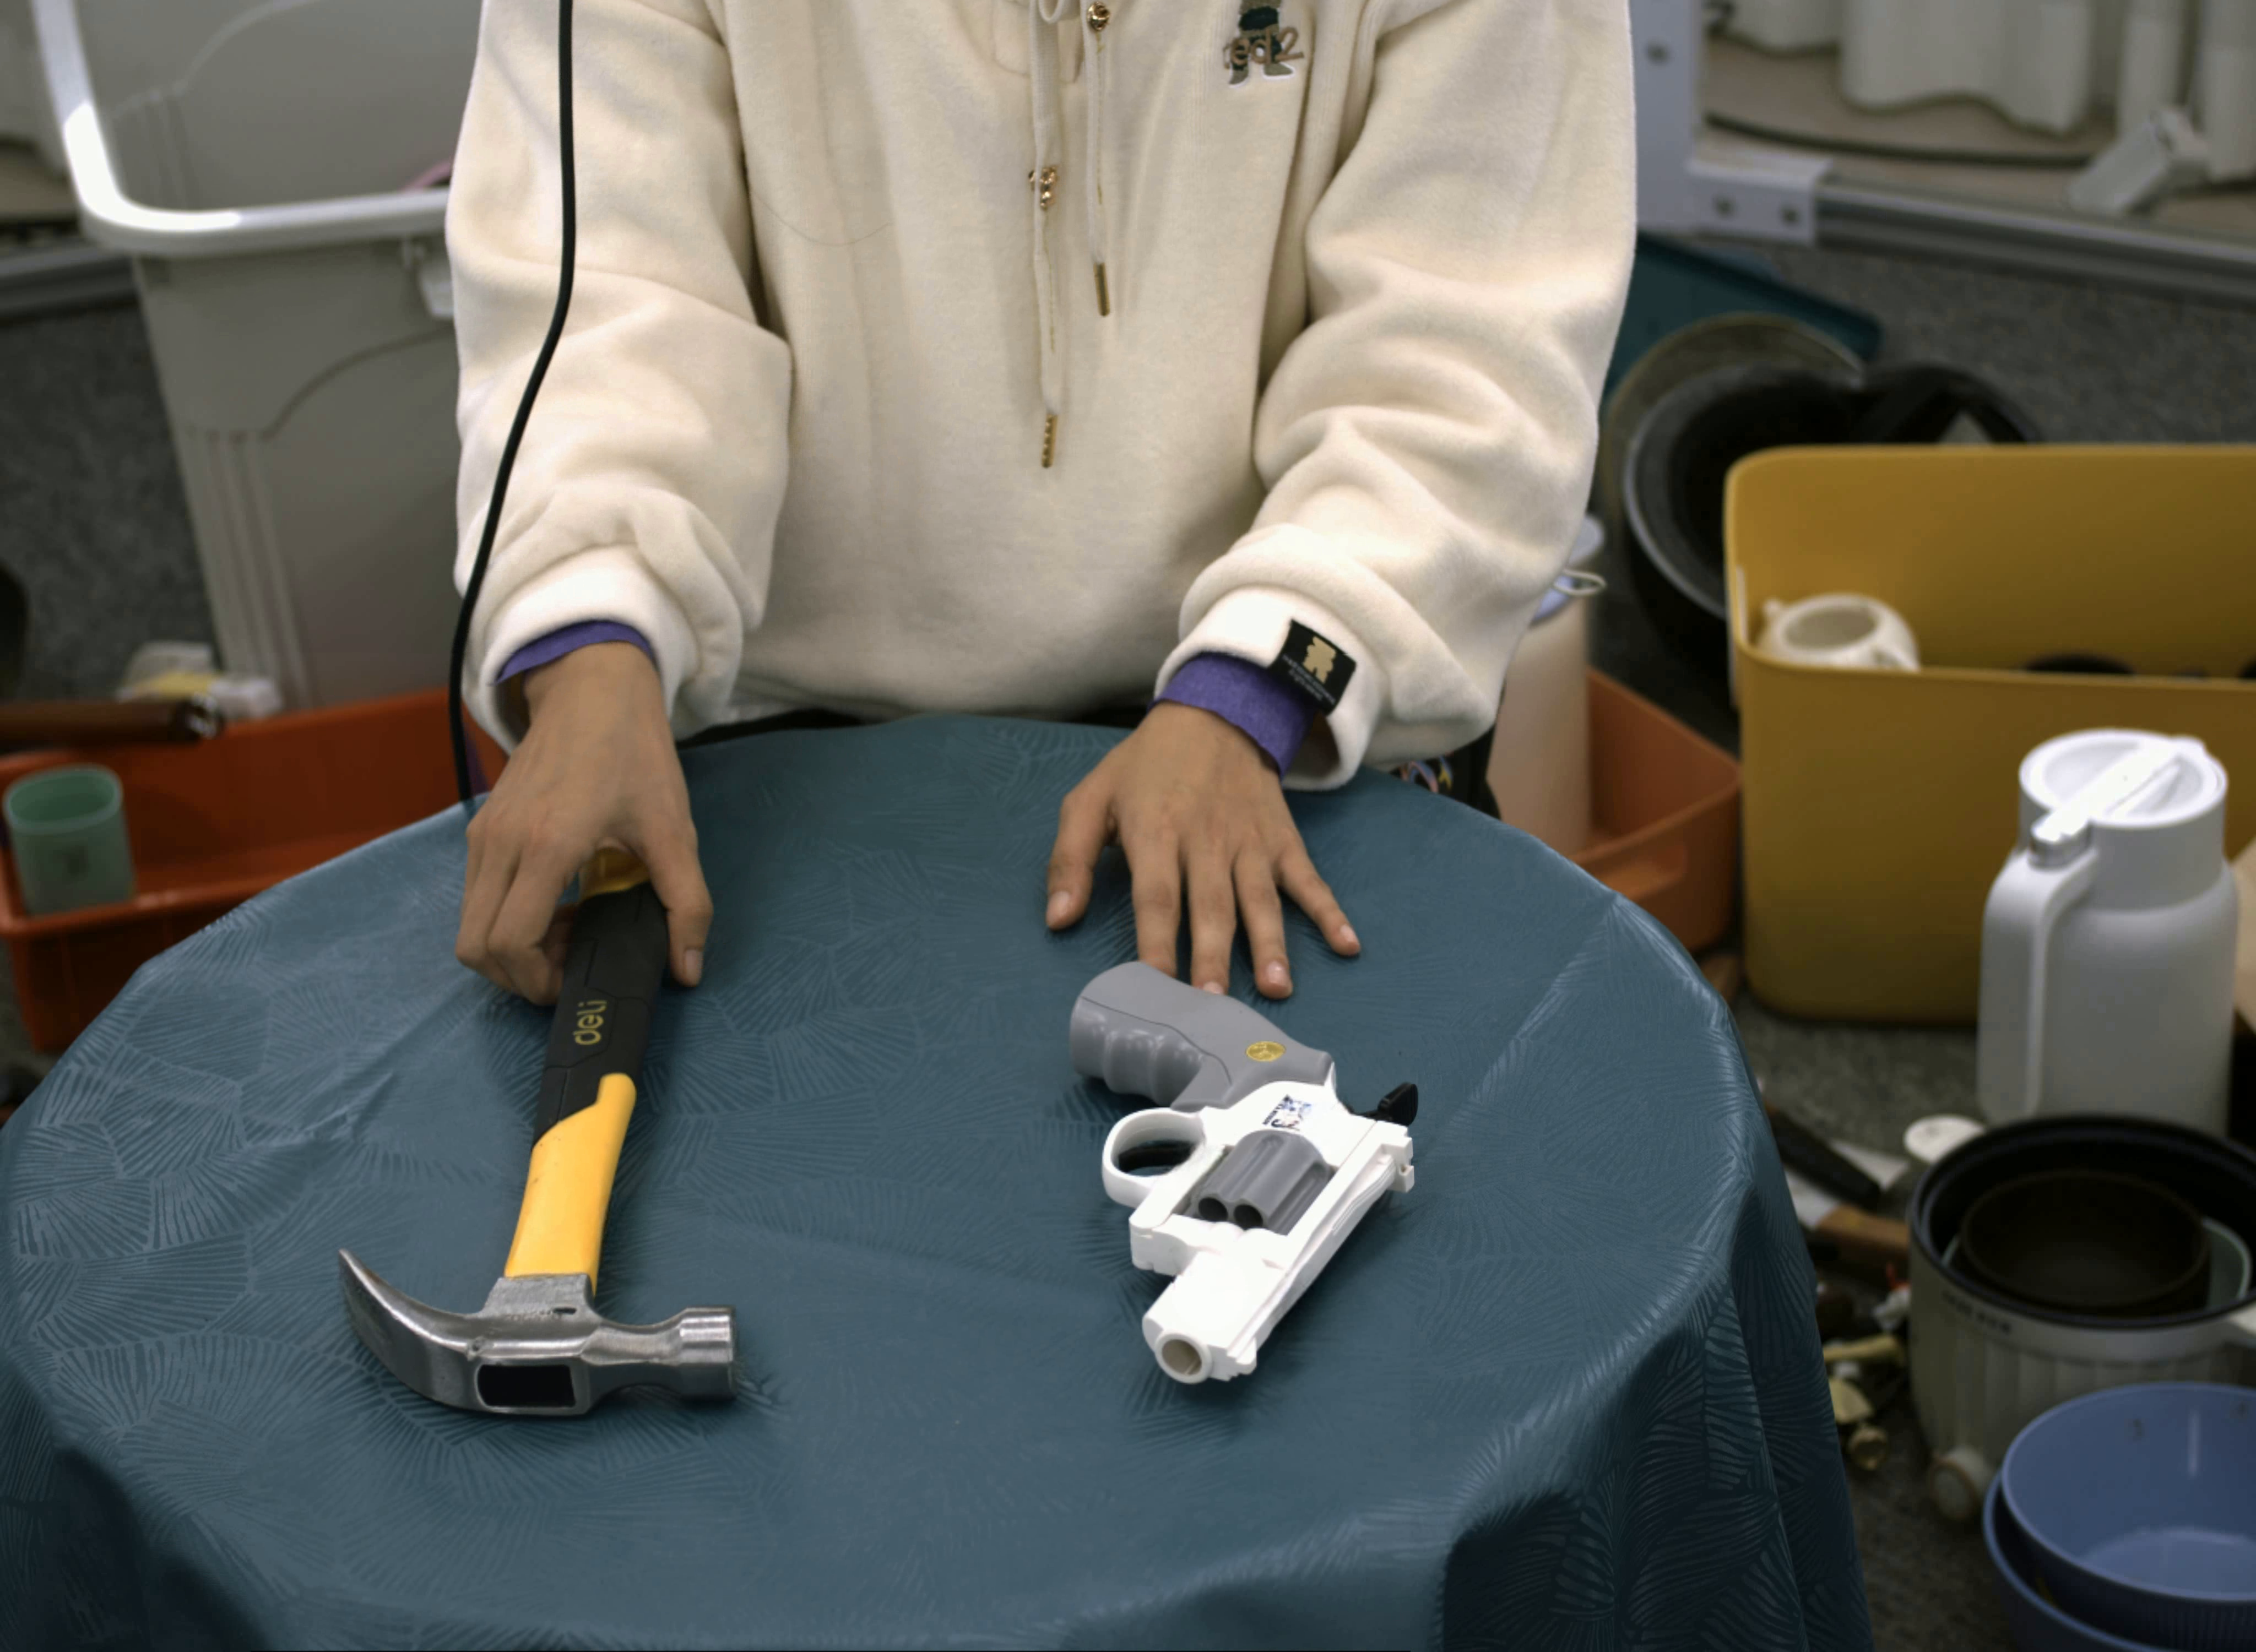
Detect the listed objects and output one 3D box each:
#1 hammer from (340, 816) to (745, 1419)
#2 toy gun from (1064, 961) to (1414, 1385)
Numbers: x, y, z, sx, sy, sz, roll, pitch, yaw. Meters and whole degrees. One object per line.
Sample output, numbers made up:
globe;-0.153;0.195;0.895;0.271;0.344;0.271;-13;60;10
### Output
hammer;-0.184;0.090;1.895;0.131;0.032;0.344;-3;30;3
toy gun;0.019;0.111;1.838;0.141;0.038;0.212;9;30;21
